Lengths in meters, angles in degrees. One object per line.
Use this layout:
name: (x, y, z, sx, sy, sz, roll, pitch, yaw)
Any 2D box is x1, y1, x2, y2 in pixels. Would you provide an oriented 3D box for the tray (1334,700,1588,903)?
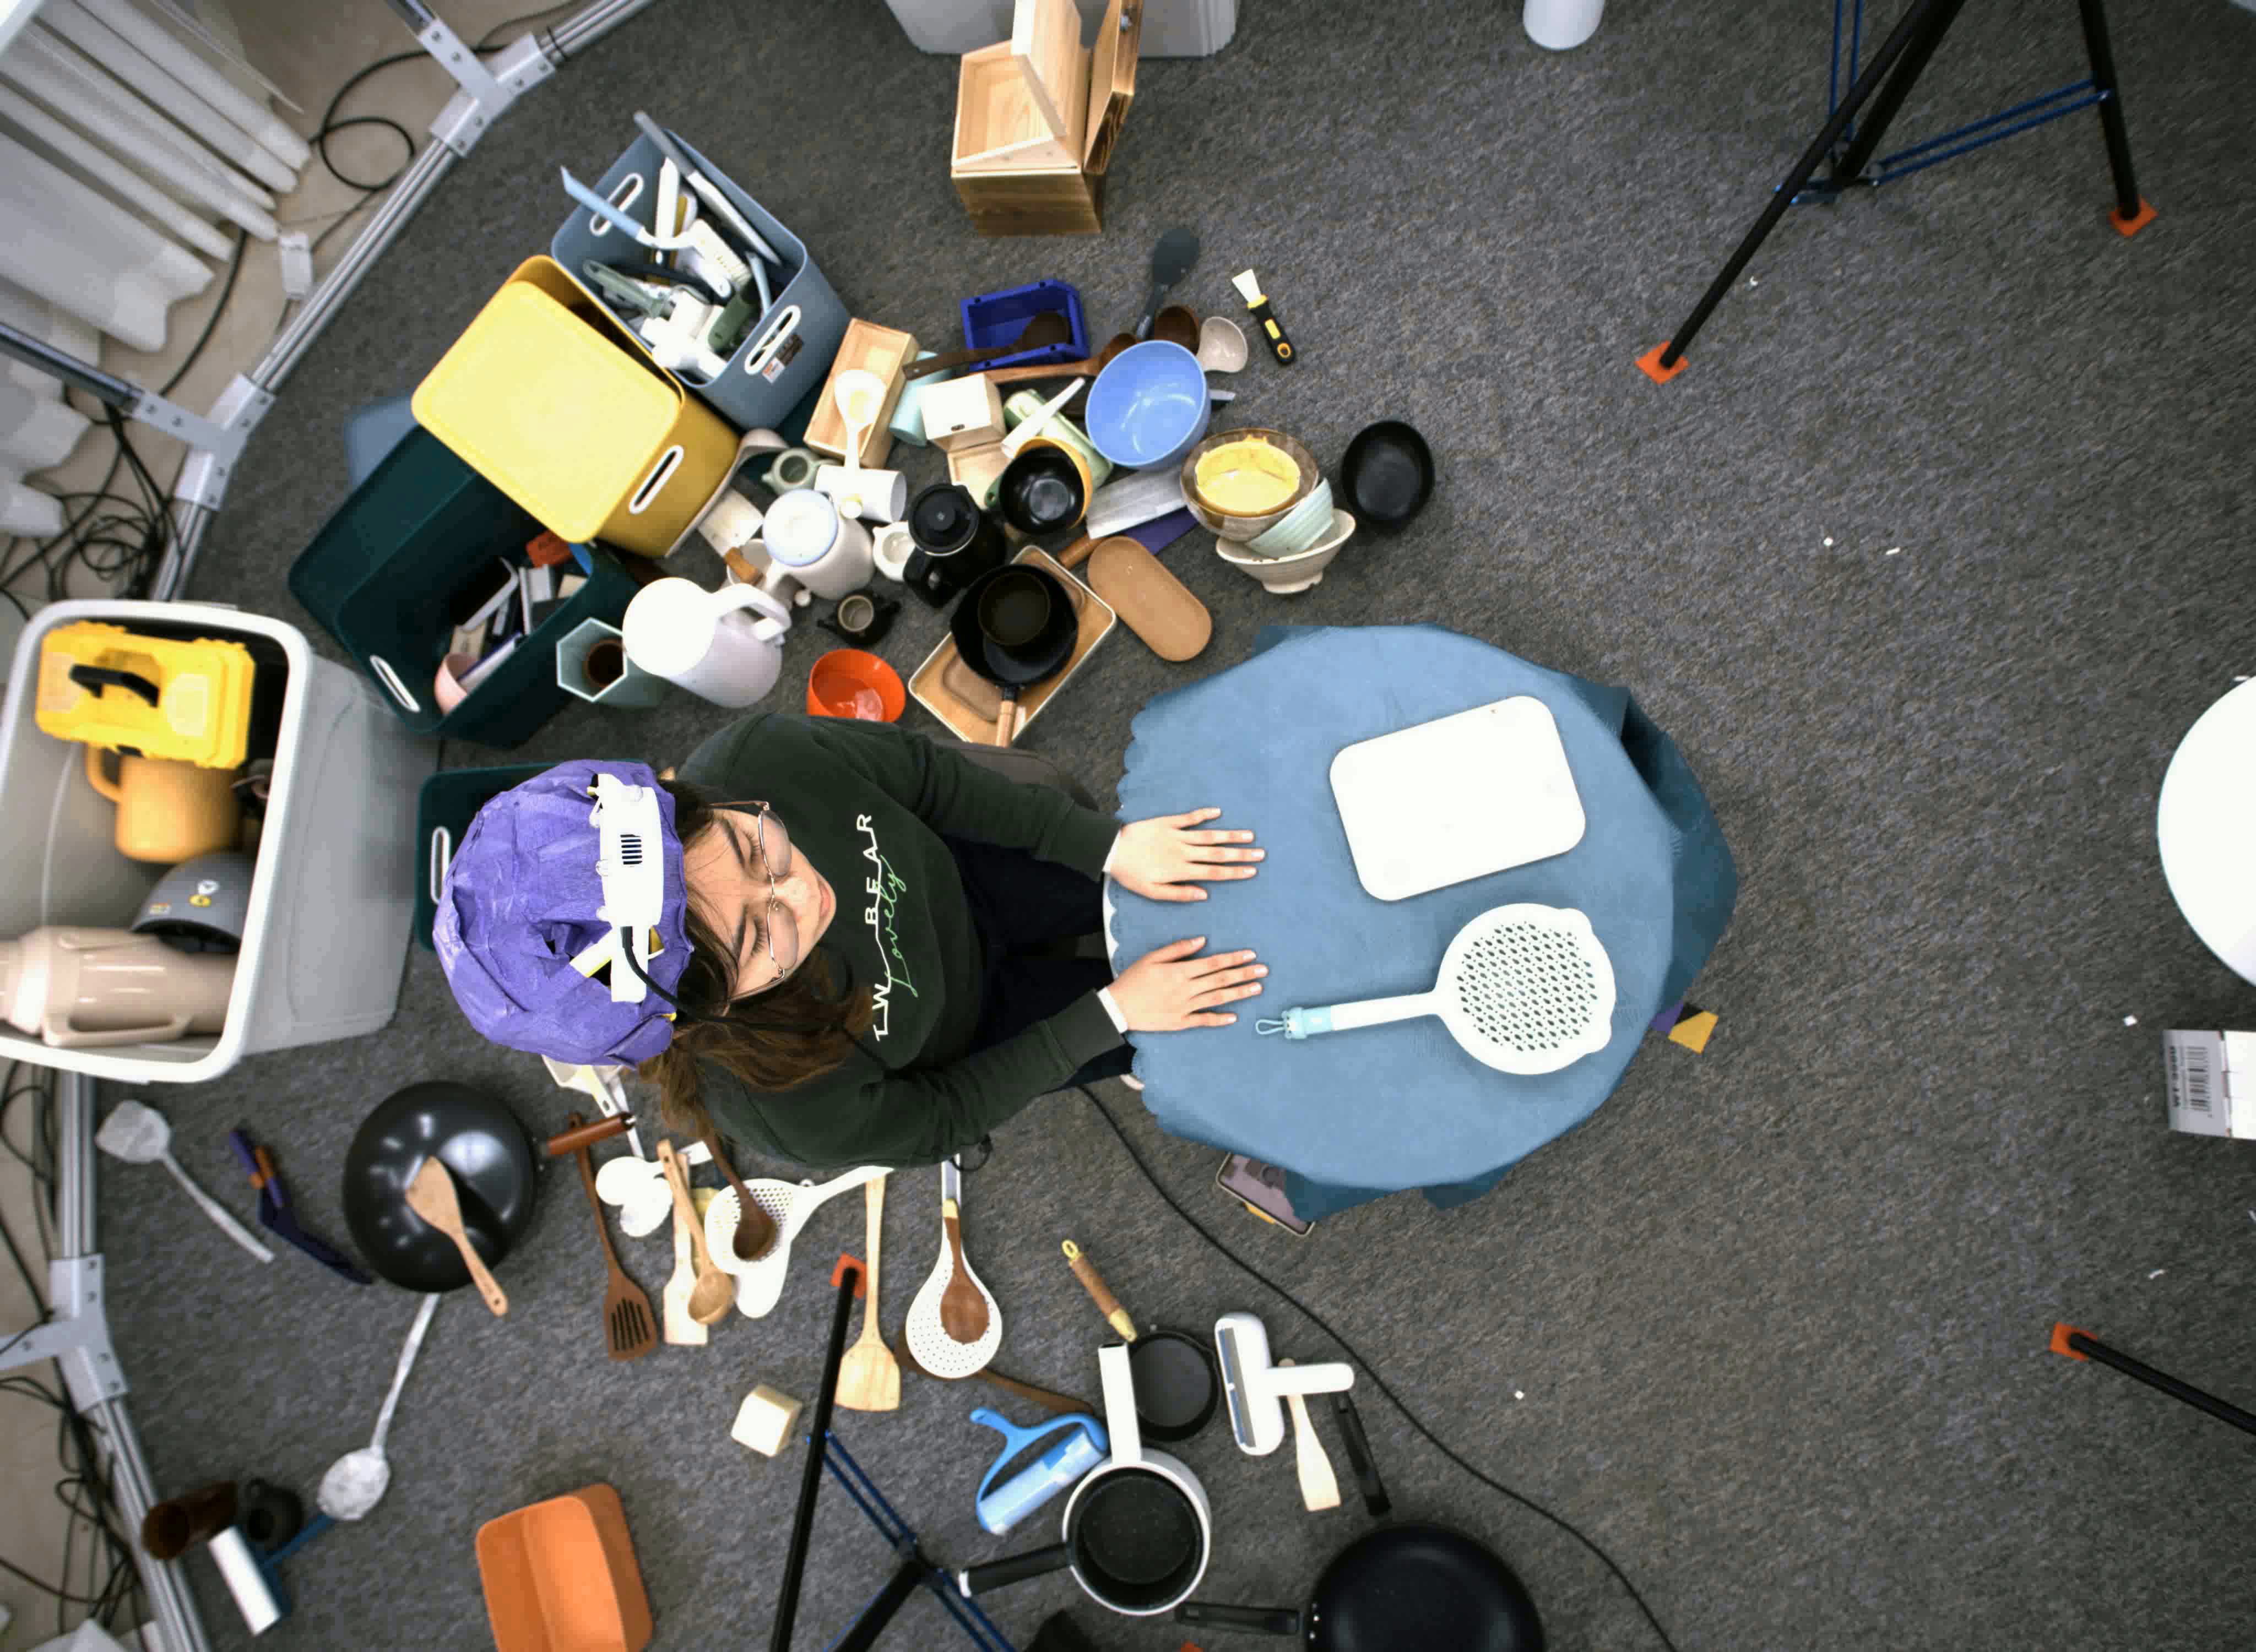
tray: (0.349, -0.027, 1.449, 0.241, 0.017, 0.170, -17, 83, 10)

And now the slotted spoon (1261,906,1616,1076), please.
slotted spoon: (0.312, 0.182, 1.418, 0.361, 0.075, 0.168, -10, 83, 10)
